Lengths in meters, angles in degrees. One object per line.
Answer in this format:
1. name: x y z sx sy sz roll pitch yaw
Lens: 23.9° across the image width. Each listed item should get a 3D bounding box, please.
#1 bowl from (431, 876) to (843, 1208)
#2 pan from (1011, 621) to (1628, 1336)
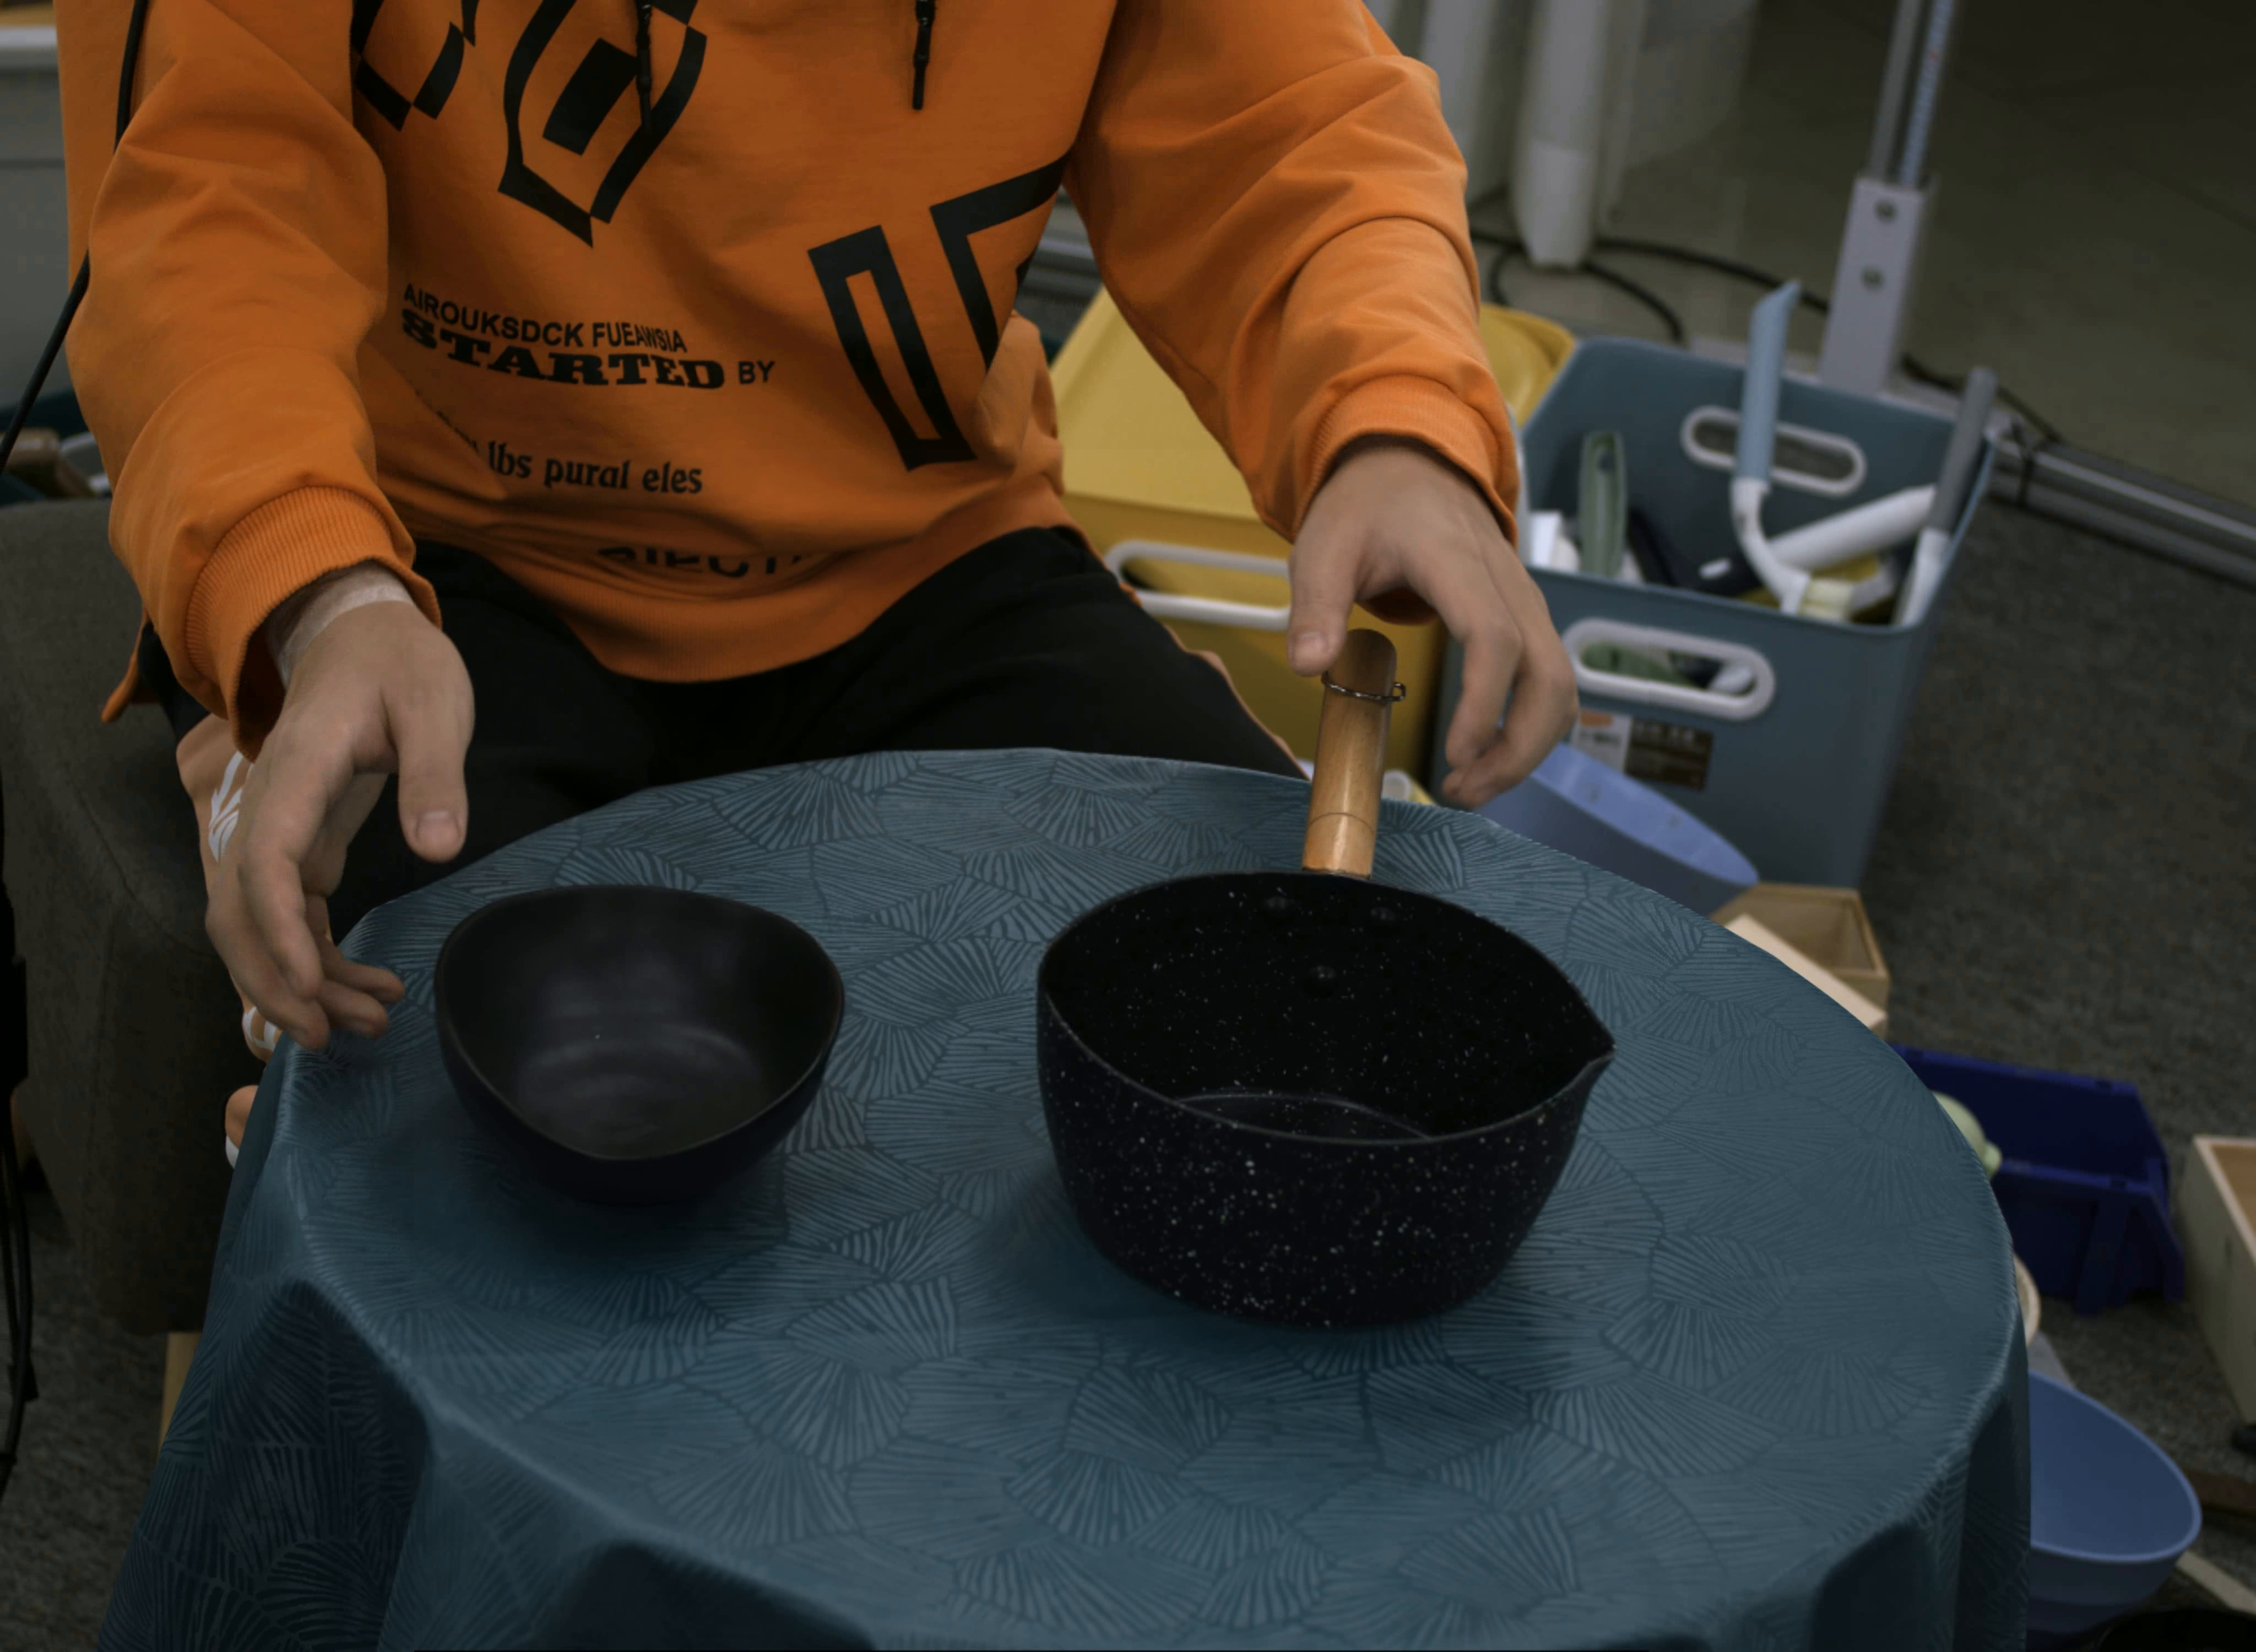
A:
1. bowl: -0.165 0.082 1.778 0.137 0.066 0.171 4 29 -5
2. pan: 0.067 0.048 1.847 0.207 0.108 0.344 6 28 2
